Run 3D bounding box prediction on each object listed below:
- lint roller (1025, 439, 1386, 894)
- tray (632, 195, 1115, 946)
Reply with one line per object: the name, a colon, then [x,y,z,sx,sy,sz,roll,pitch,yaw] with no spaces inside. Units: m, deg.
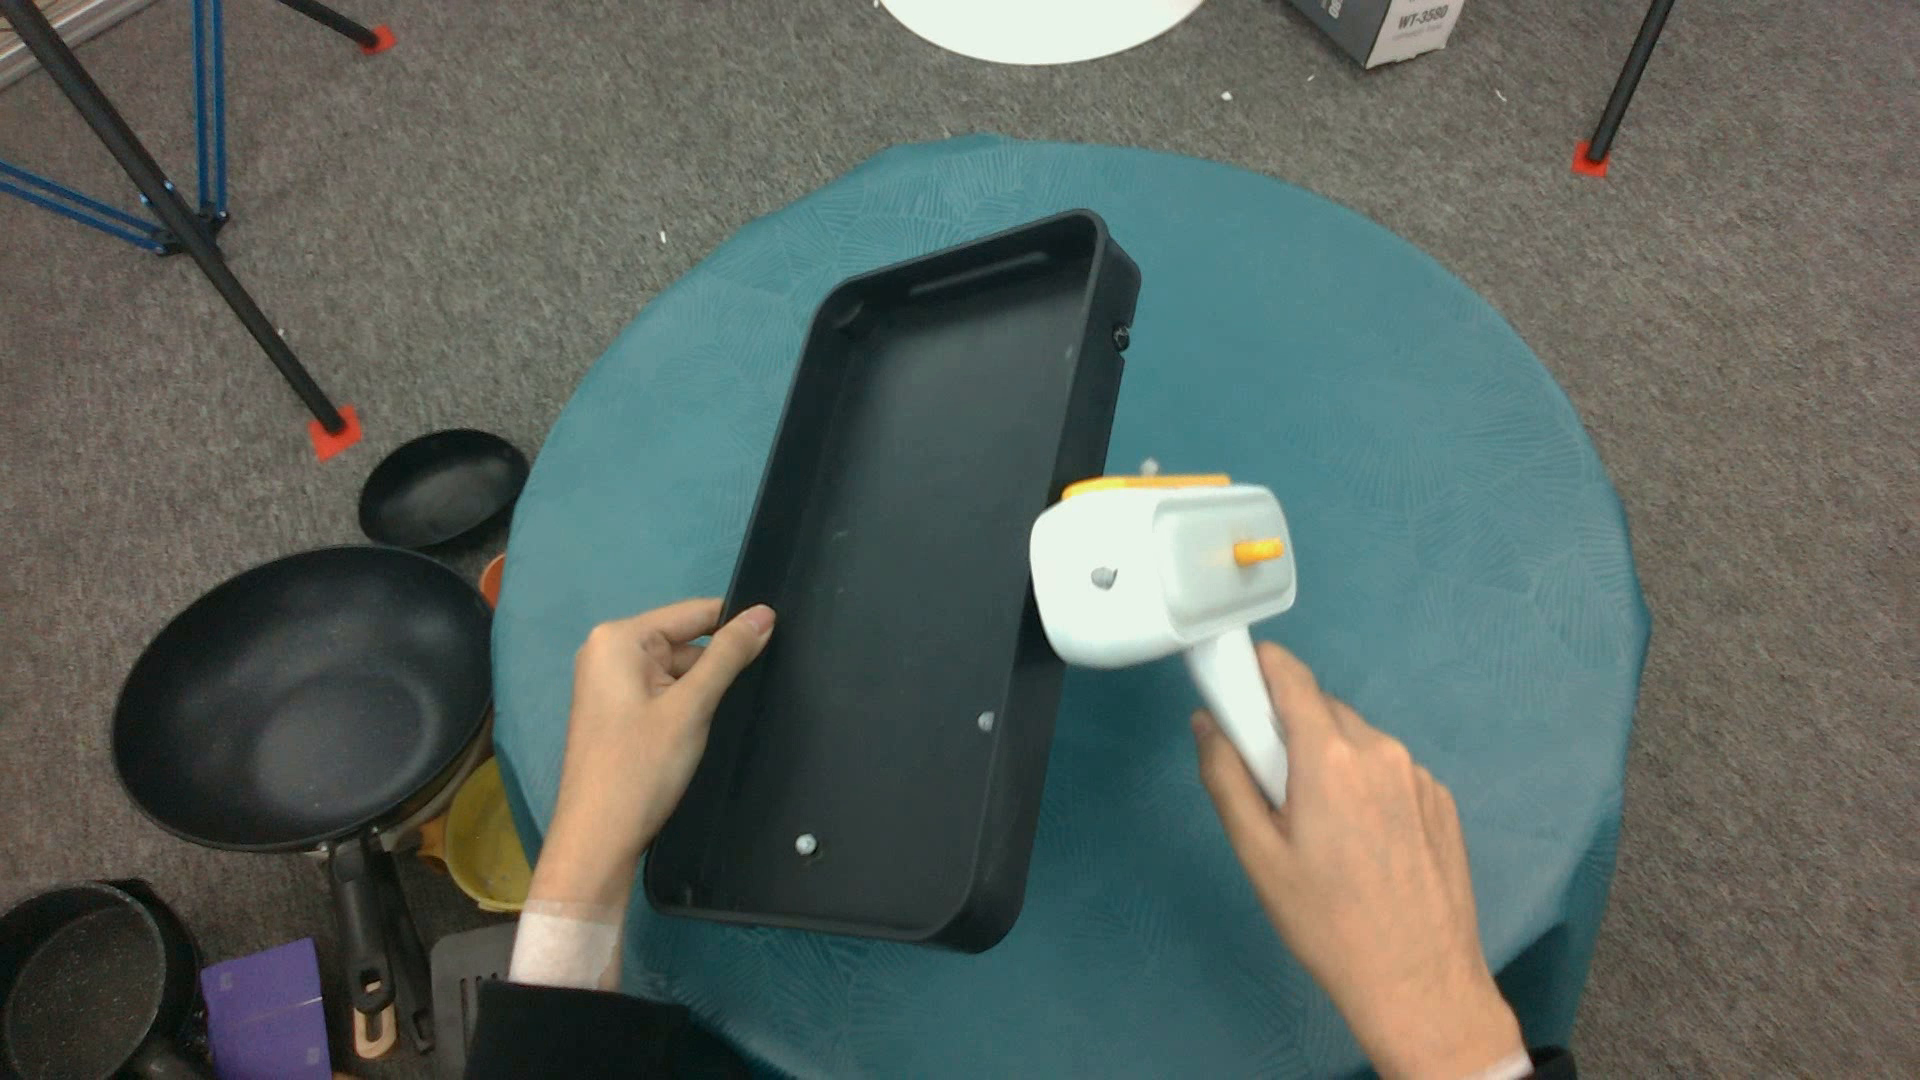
lint roller: [0.108,0.053,0.550,0.074,0.193,0.192,-21,87,23]
tray: [-0.034,0.008,0.593,0.183,0.037,0.319,-9,59,39]
